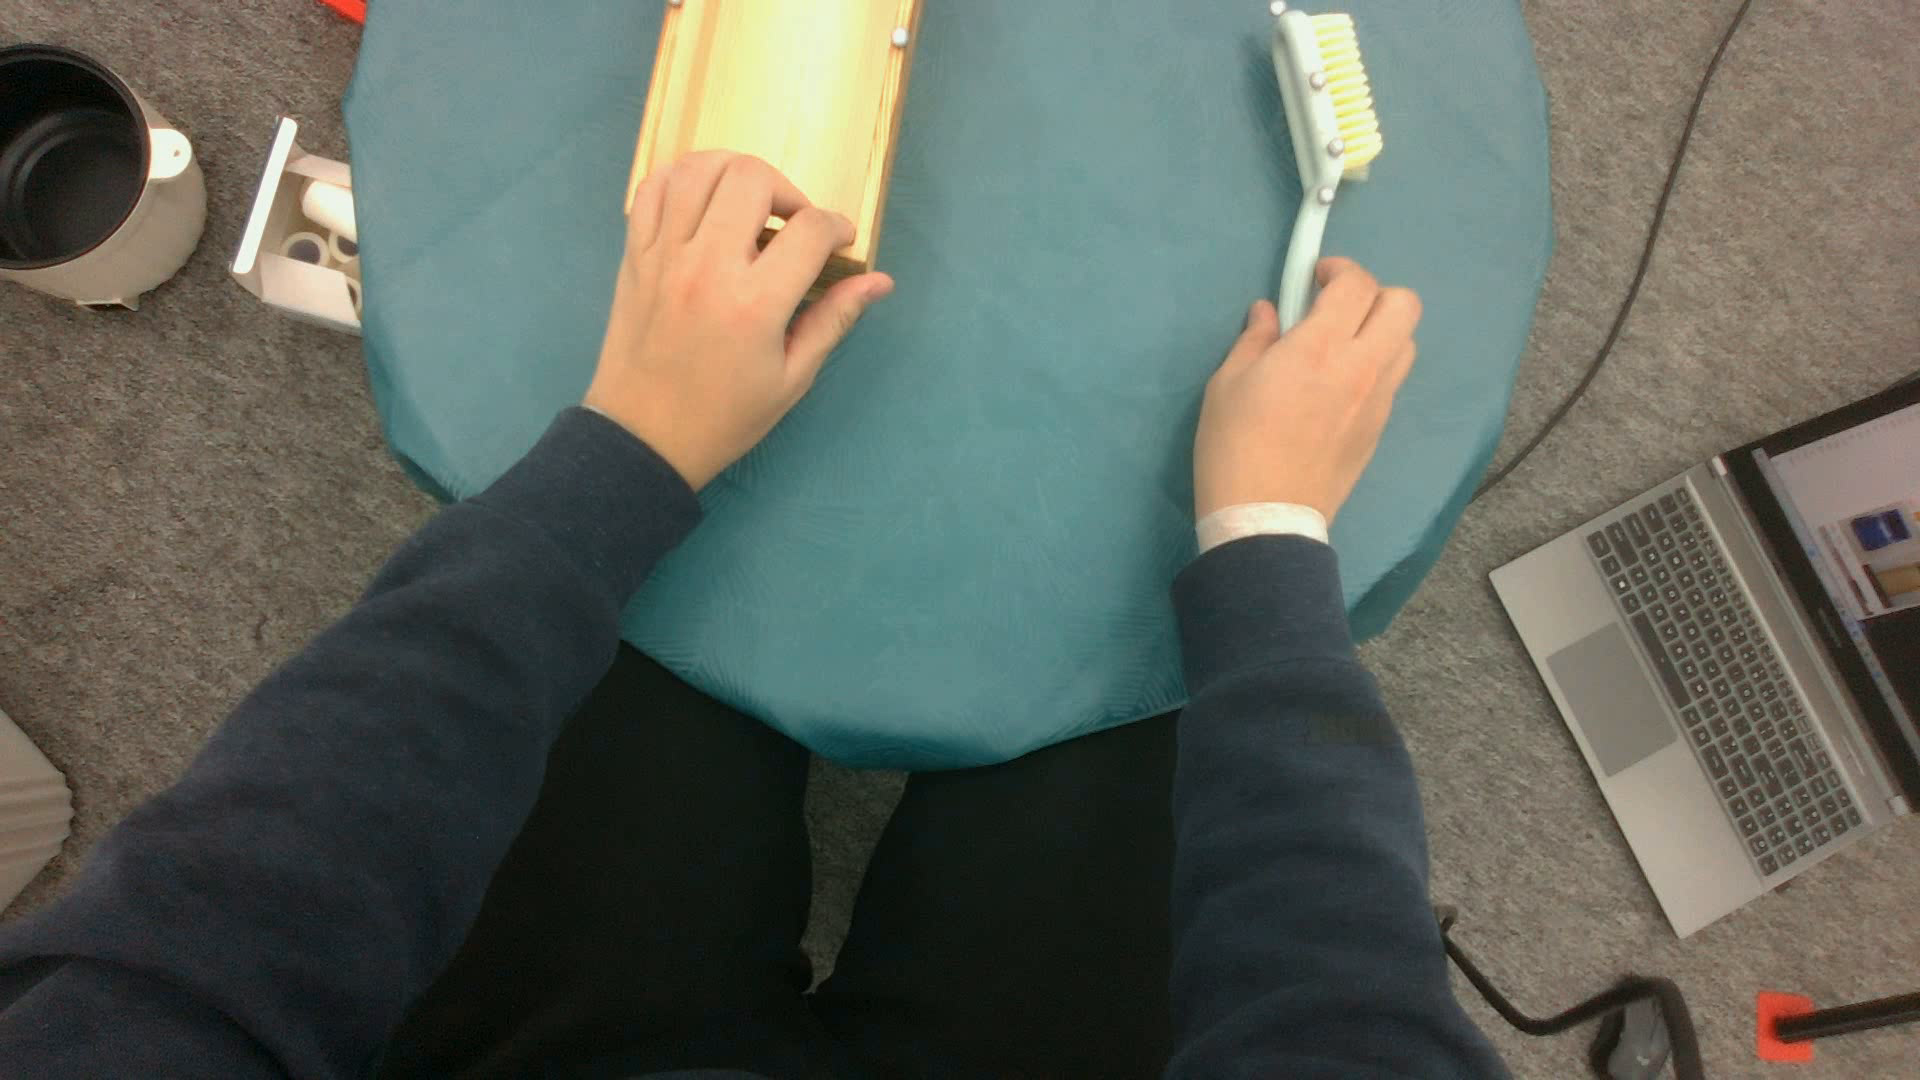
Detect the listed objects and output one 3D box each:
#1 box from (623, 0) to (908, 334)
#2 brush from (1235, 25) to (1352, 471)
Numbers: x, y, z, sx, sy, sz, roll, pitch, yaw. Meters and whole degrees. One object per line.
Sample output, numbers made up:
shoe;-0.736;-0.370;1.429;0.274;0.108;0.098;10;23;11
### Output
box;-0.087;-0.216;0.663;0.107;0.080;0.211;7;82;-2
brush;0.175;-0.149;0.692;0.050;0.038;0.229;-4;83;-7
